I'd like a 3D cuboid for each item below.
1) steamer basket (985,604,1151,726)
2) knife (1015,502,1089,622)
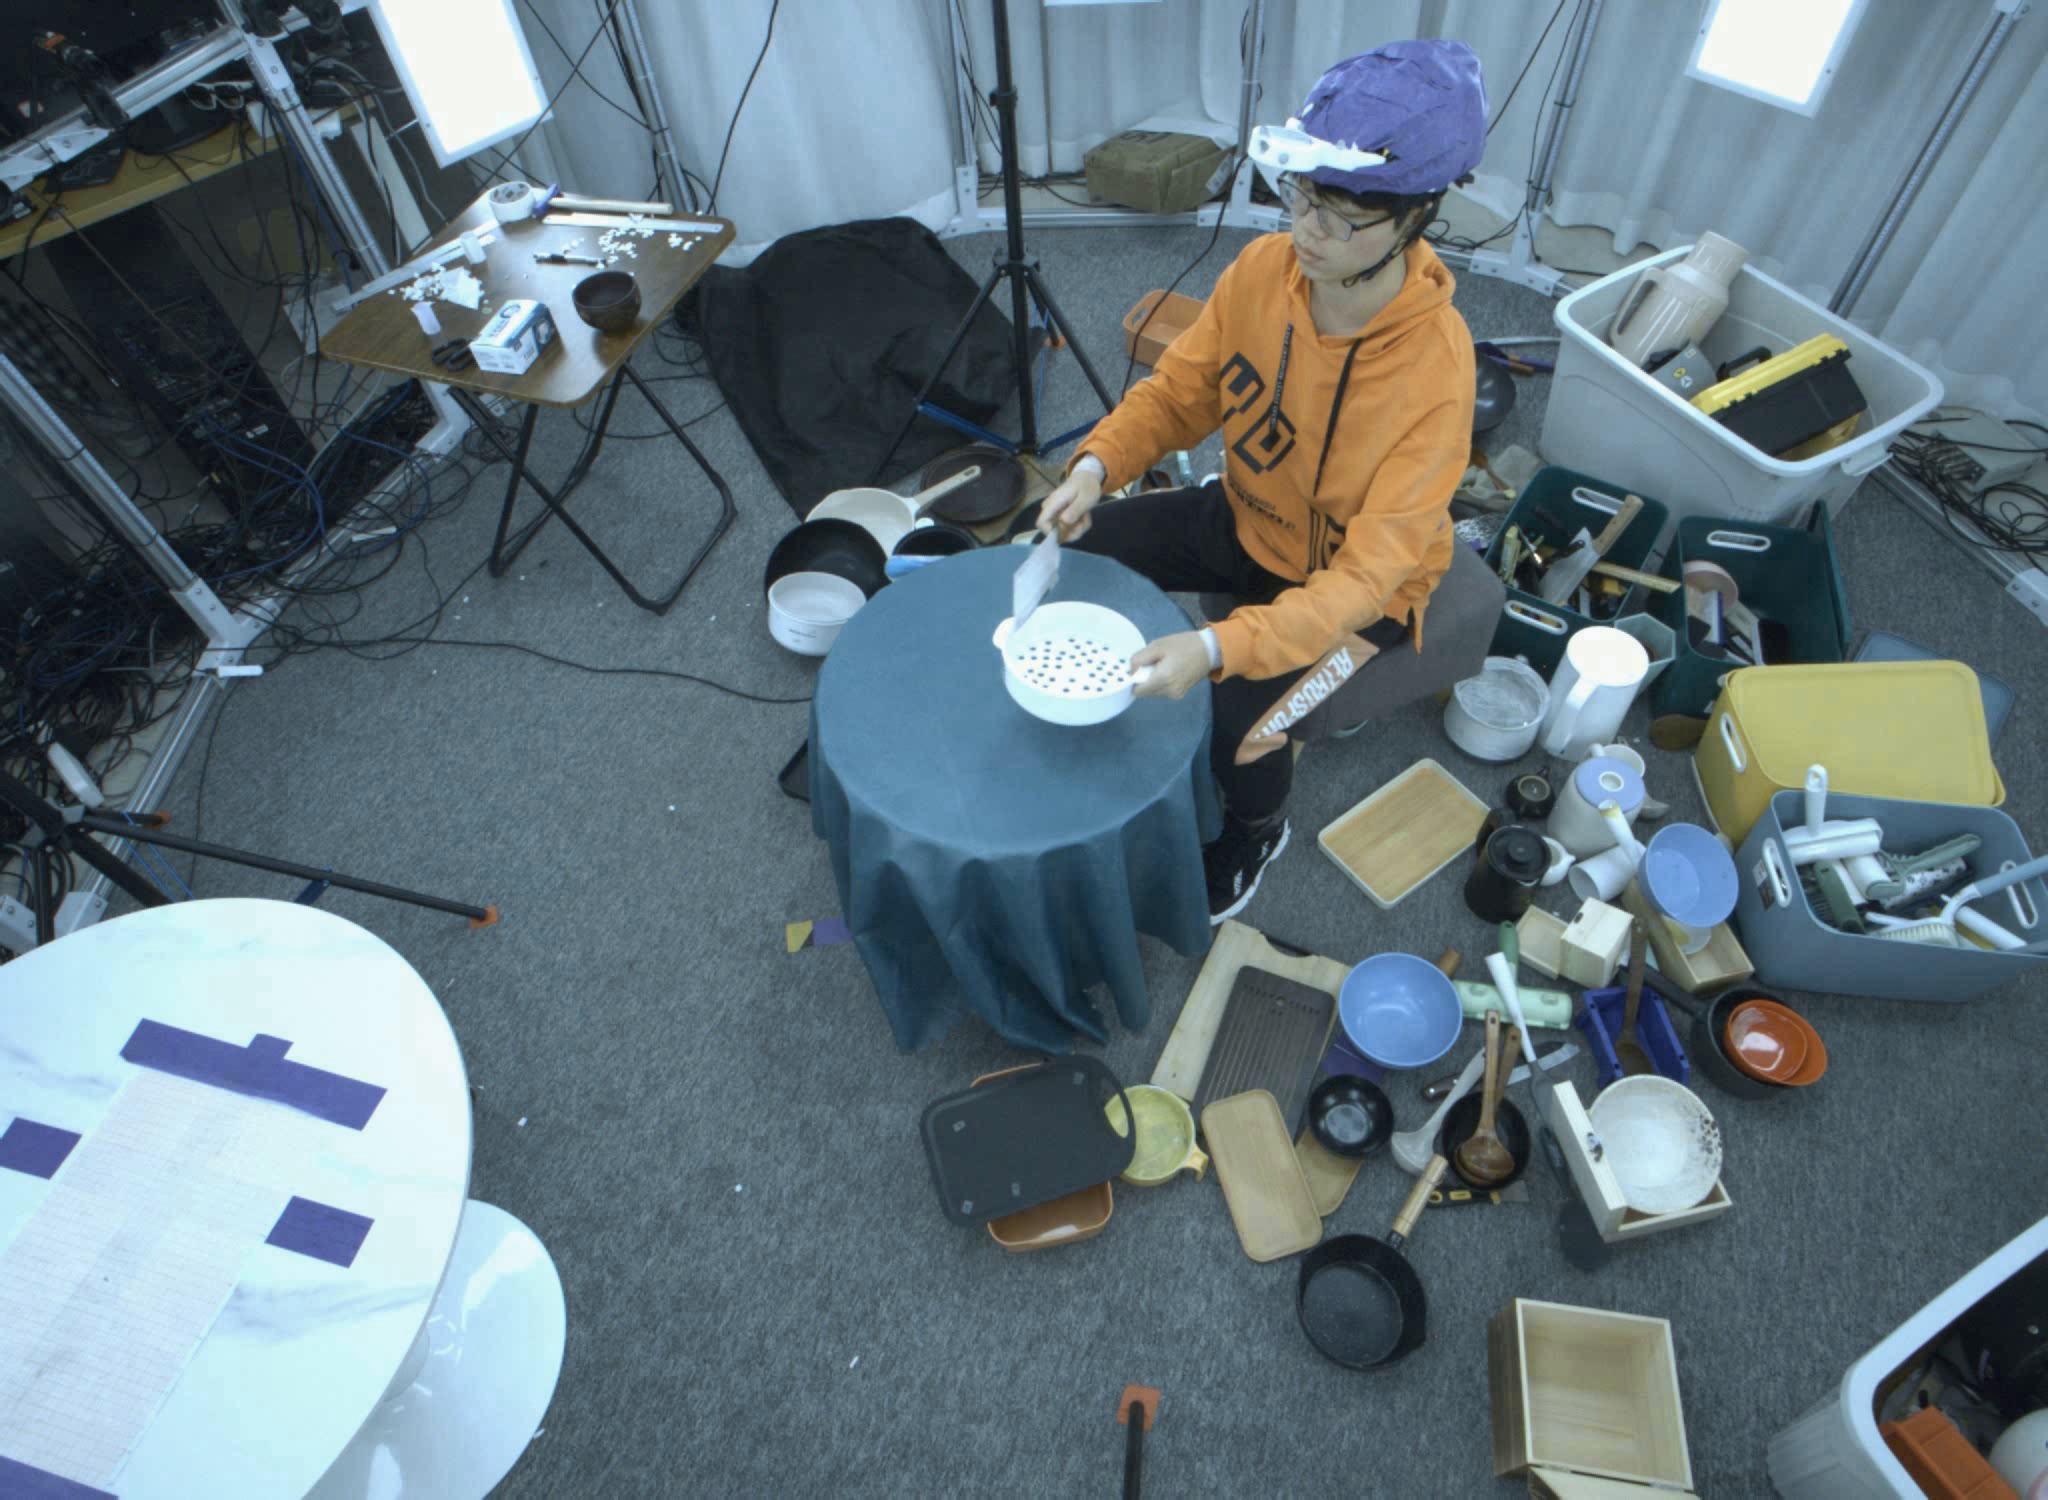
[{"bbox_3d":[0.060,-0.118,1.719,0.229,0.070,0.201,12,46,11],"label":"steamer basket"},{"bbox_3d":[0.040,-0.271,1.762,0.021,0.094,0.306,10,34,16],"label":"knife"}]
